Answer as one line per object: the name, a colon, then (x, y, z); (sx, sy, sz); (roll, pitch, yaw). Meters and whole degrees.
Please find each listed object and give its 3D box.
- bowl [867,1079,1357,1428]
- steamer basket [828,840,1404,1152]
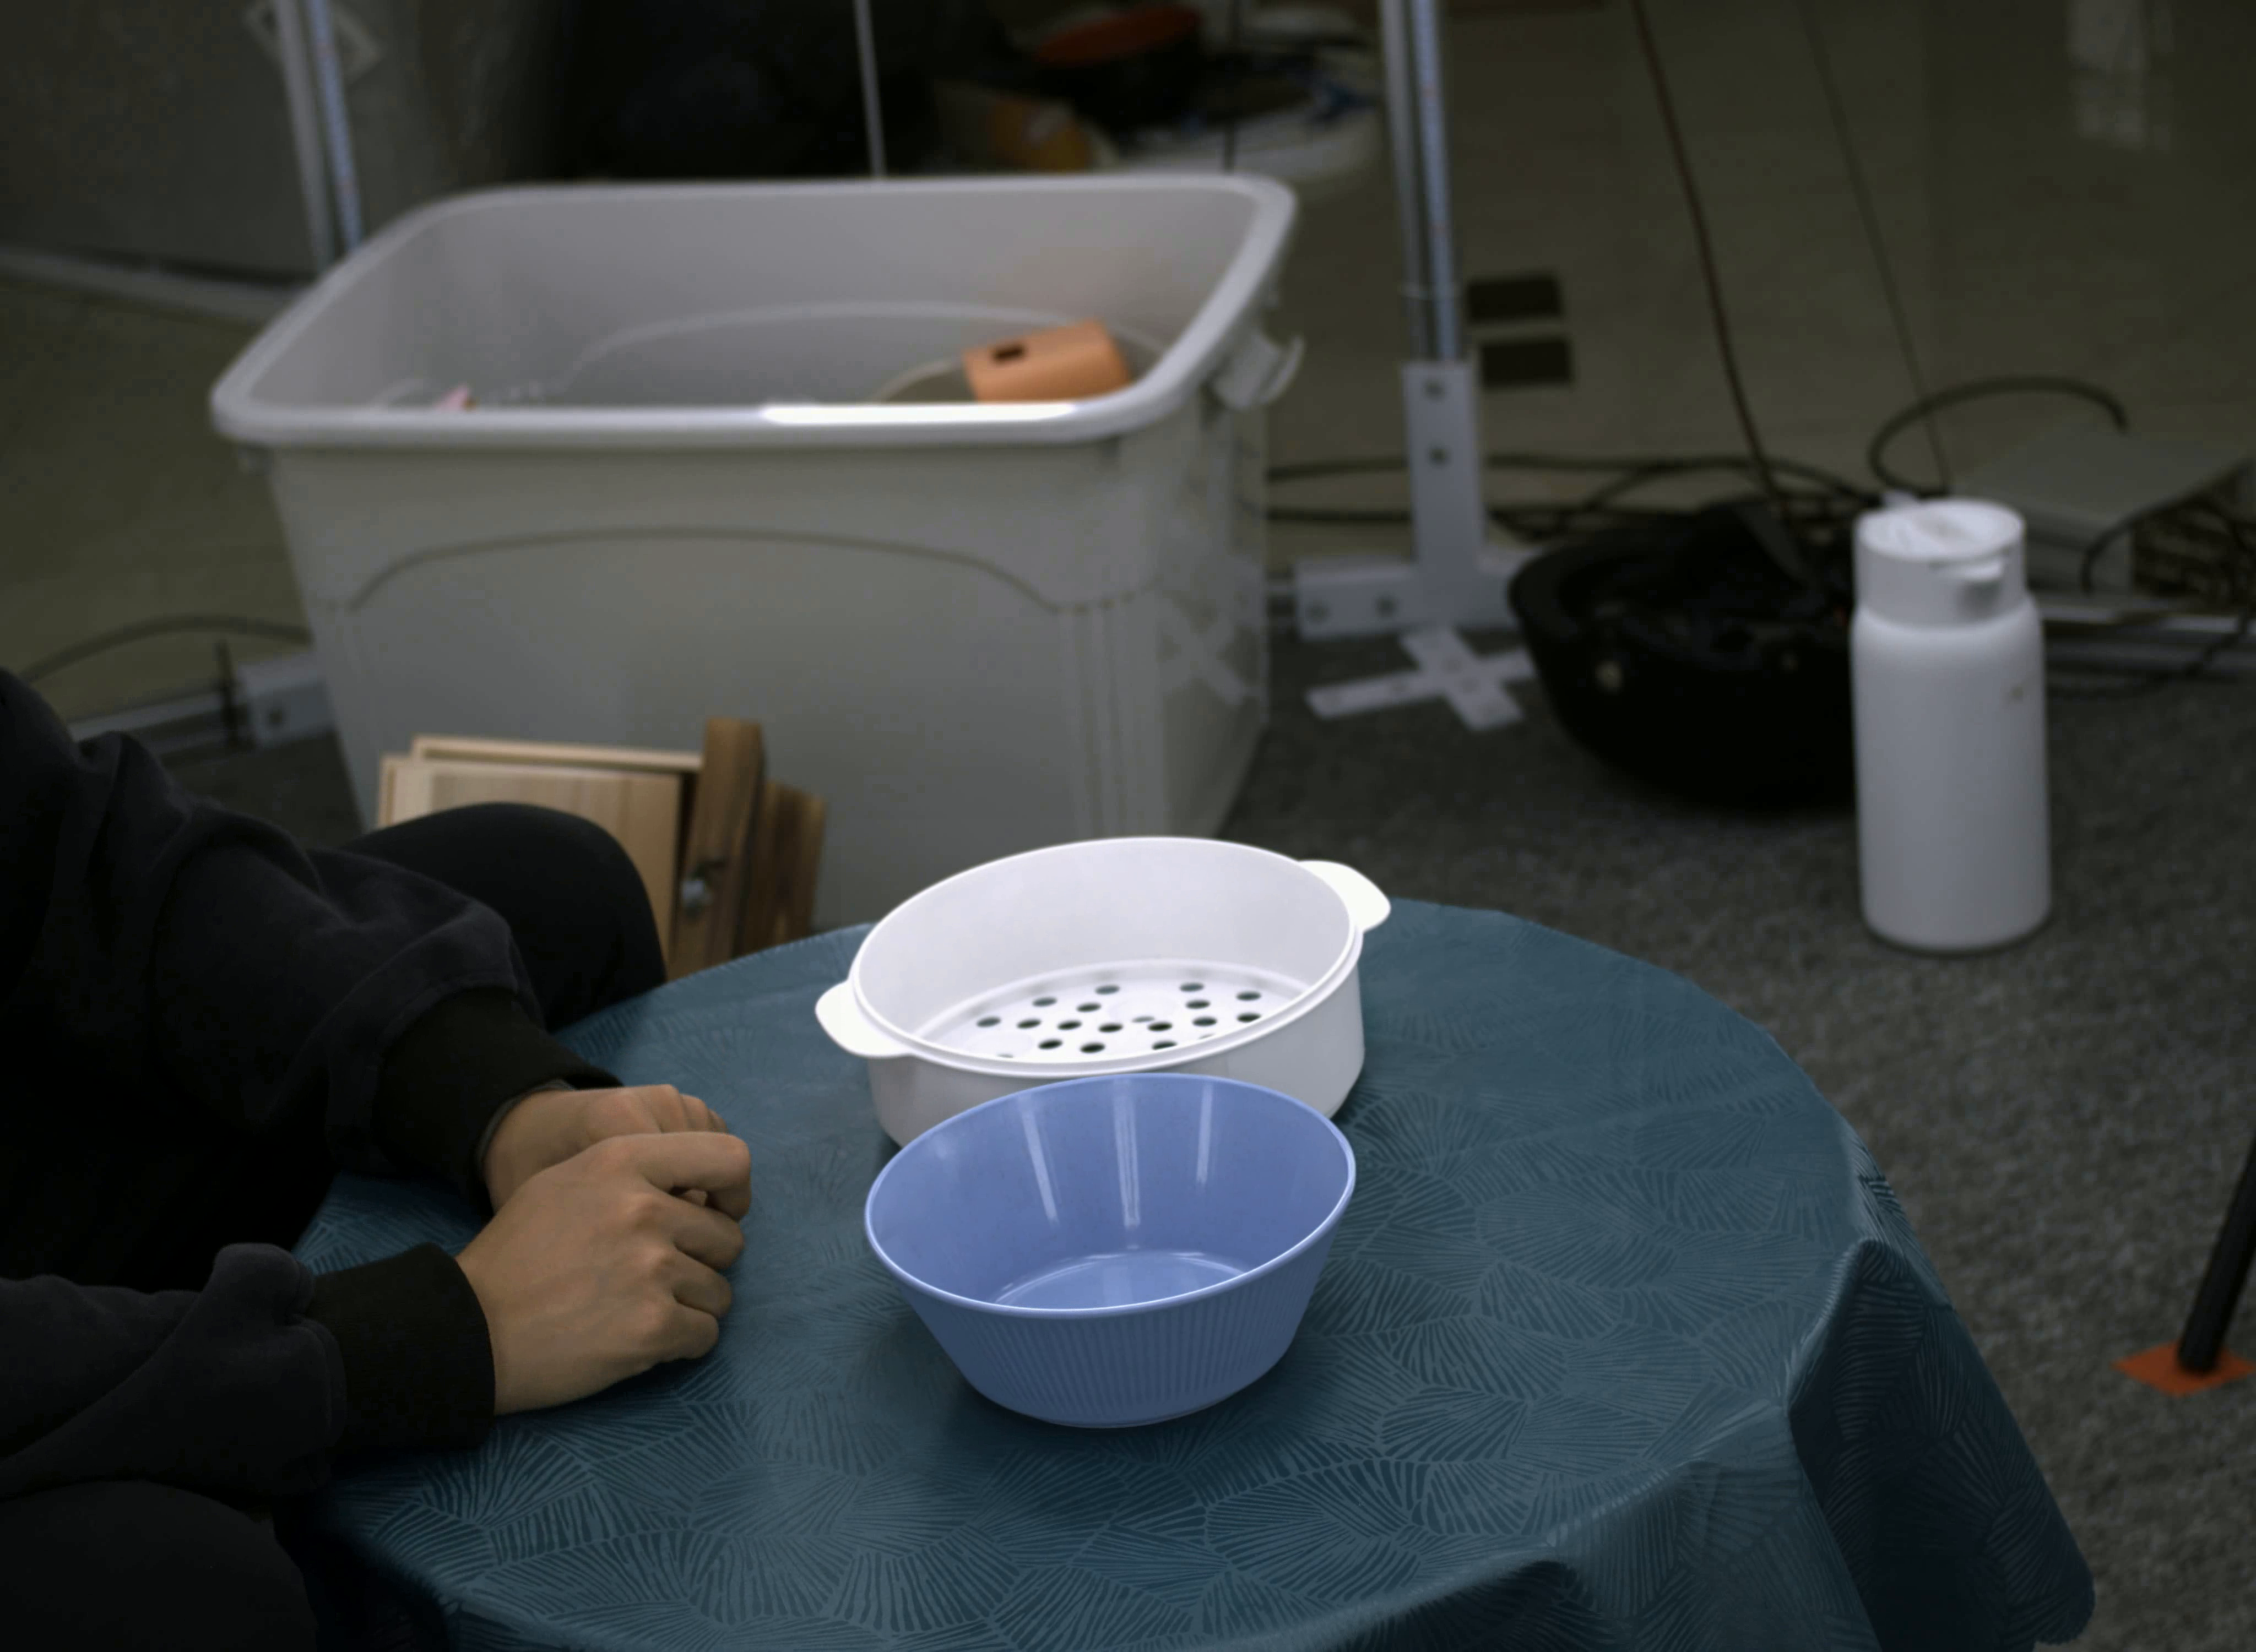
bowl: (-0.002, 0.159, 2.027); (0.176, 0.071, 0.173); (-6, 24, 3)
steamer basket: (-0.001, 0.075, 2.208); (0.230, 0.070, 0.199); (-13, 25, -18)
